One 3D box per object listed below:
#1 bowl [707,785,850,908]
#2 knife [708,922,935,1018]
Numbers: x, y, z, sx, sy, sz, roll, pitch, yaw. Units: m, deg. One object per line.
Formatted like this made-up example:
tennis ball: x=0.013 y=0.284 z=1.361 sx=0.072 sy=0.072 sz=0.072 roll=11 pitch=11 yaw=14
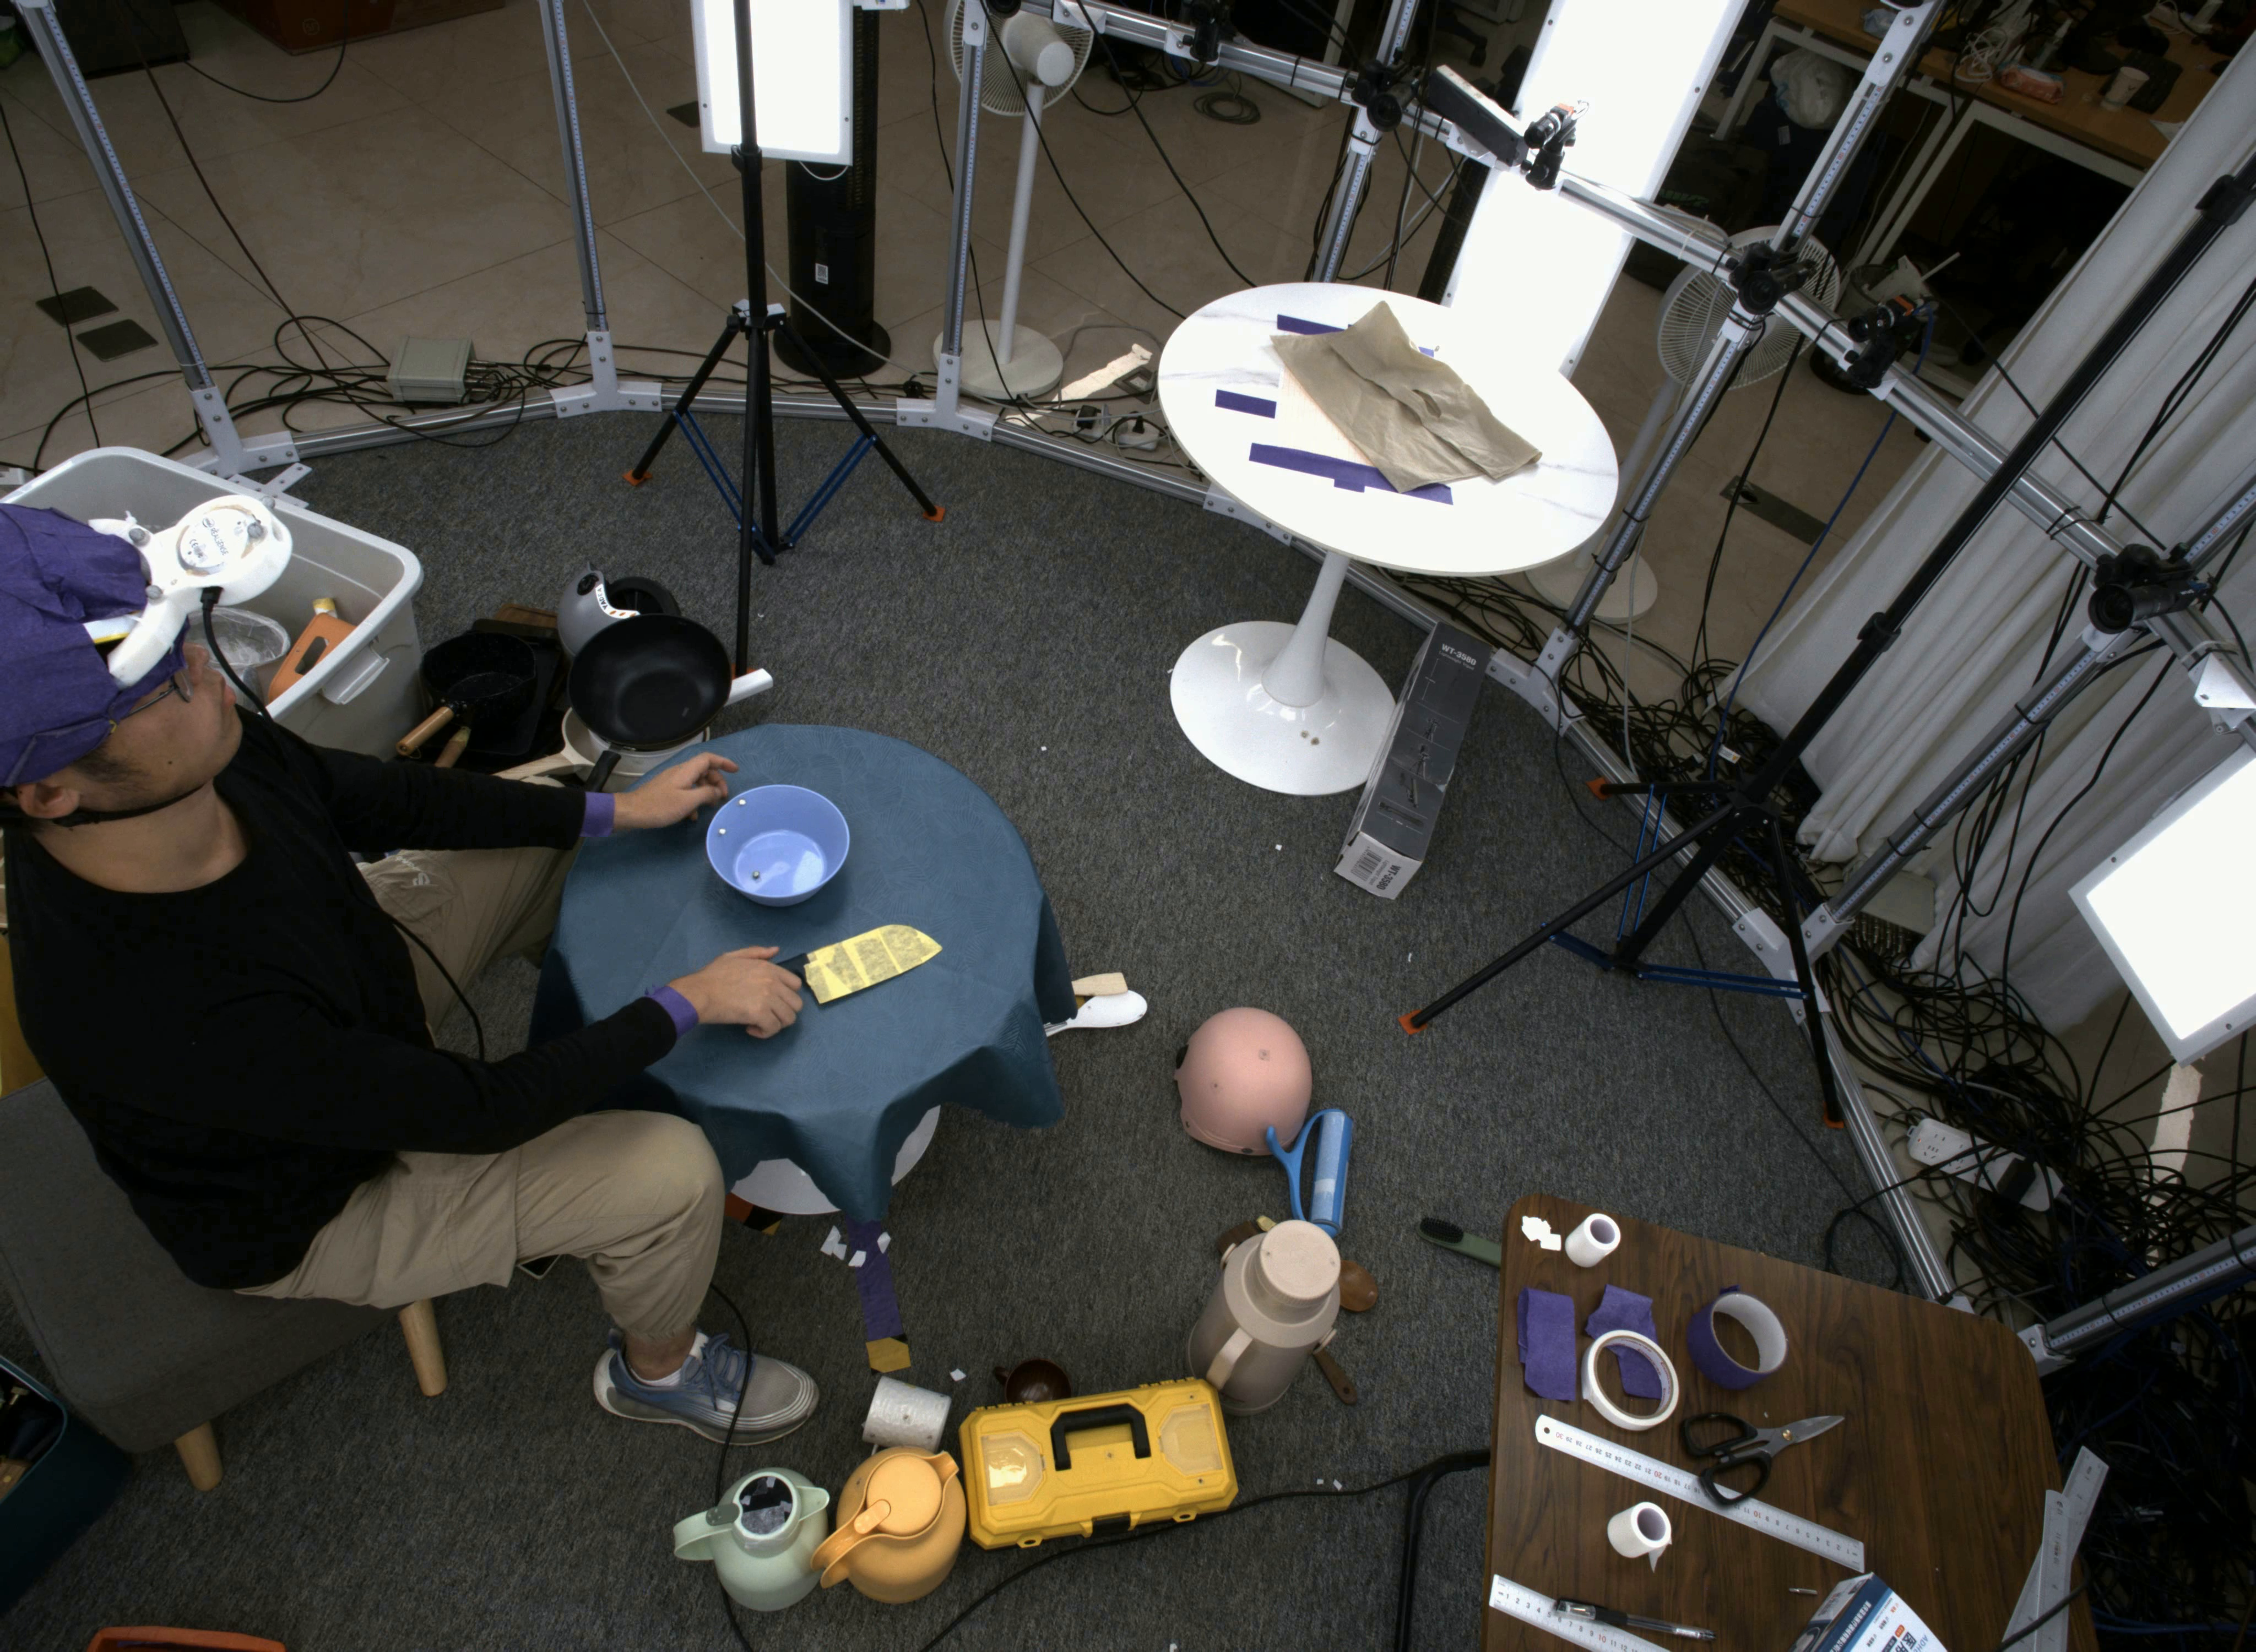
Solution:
bowl: x=-0.443 y=0.036 z=1.645 sx=0.176 sy=0.071 sz=0.173 roll=8 pitch=53 yaw=-9
knife: x=-0.370 y=0.180 z=1.592 sx=0.291 sy=0.028 sz=0.079 roll=-19 pitch=59 yaw=-27
